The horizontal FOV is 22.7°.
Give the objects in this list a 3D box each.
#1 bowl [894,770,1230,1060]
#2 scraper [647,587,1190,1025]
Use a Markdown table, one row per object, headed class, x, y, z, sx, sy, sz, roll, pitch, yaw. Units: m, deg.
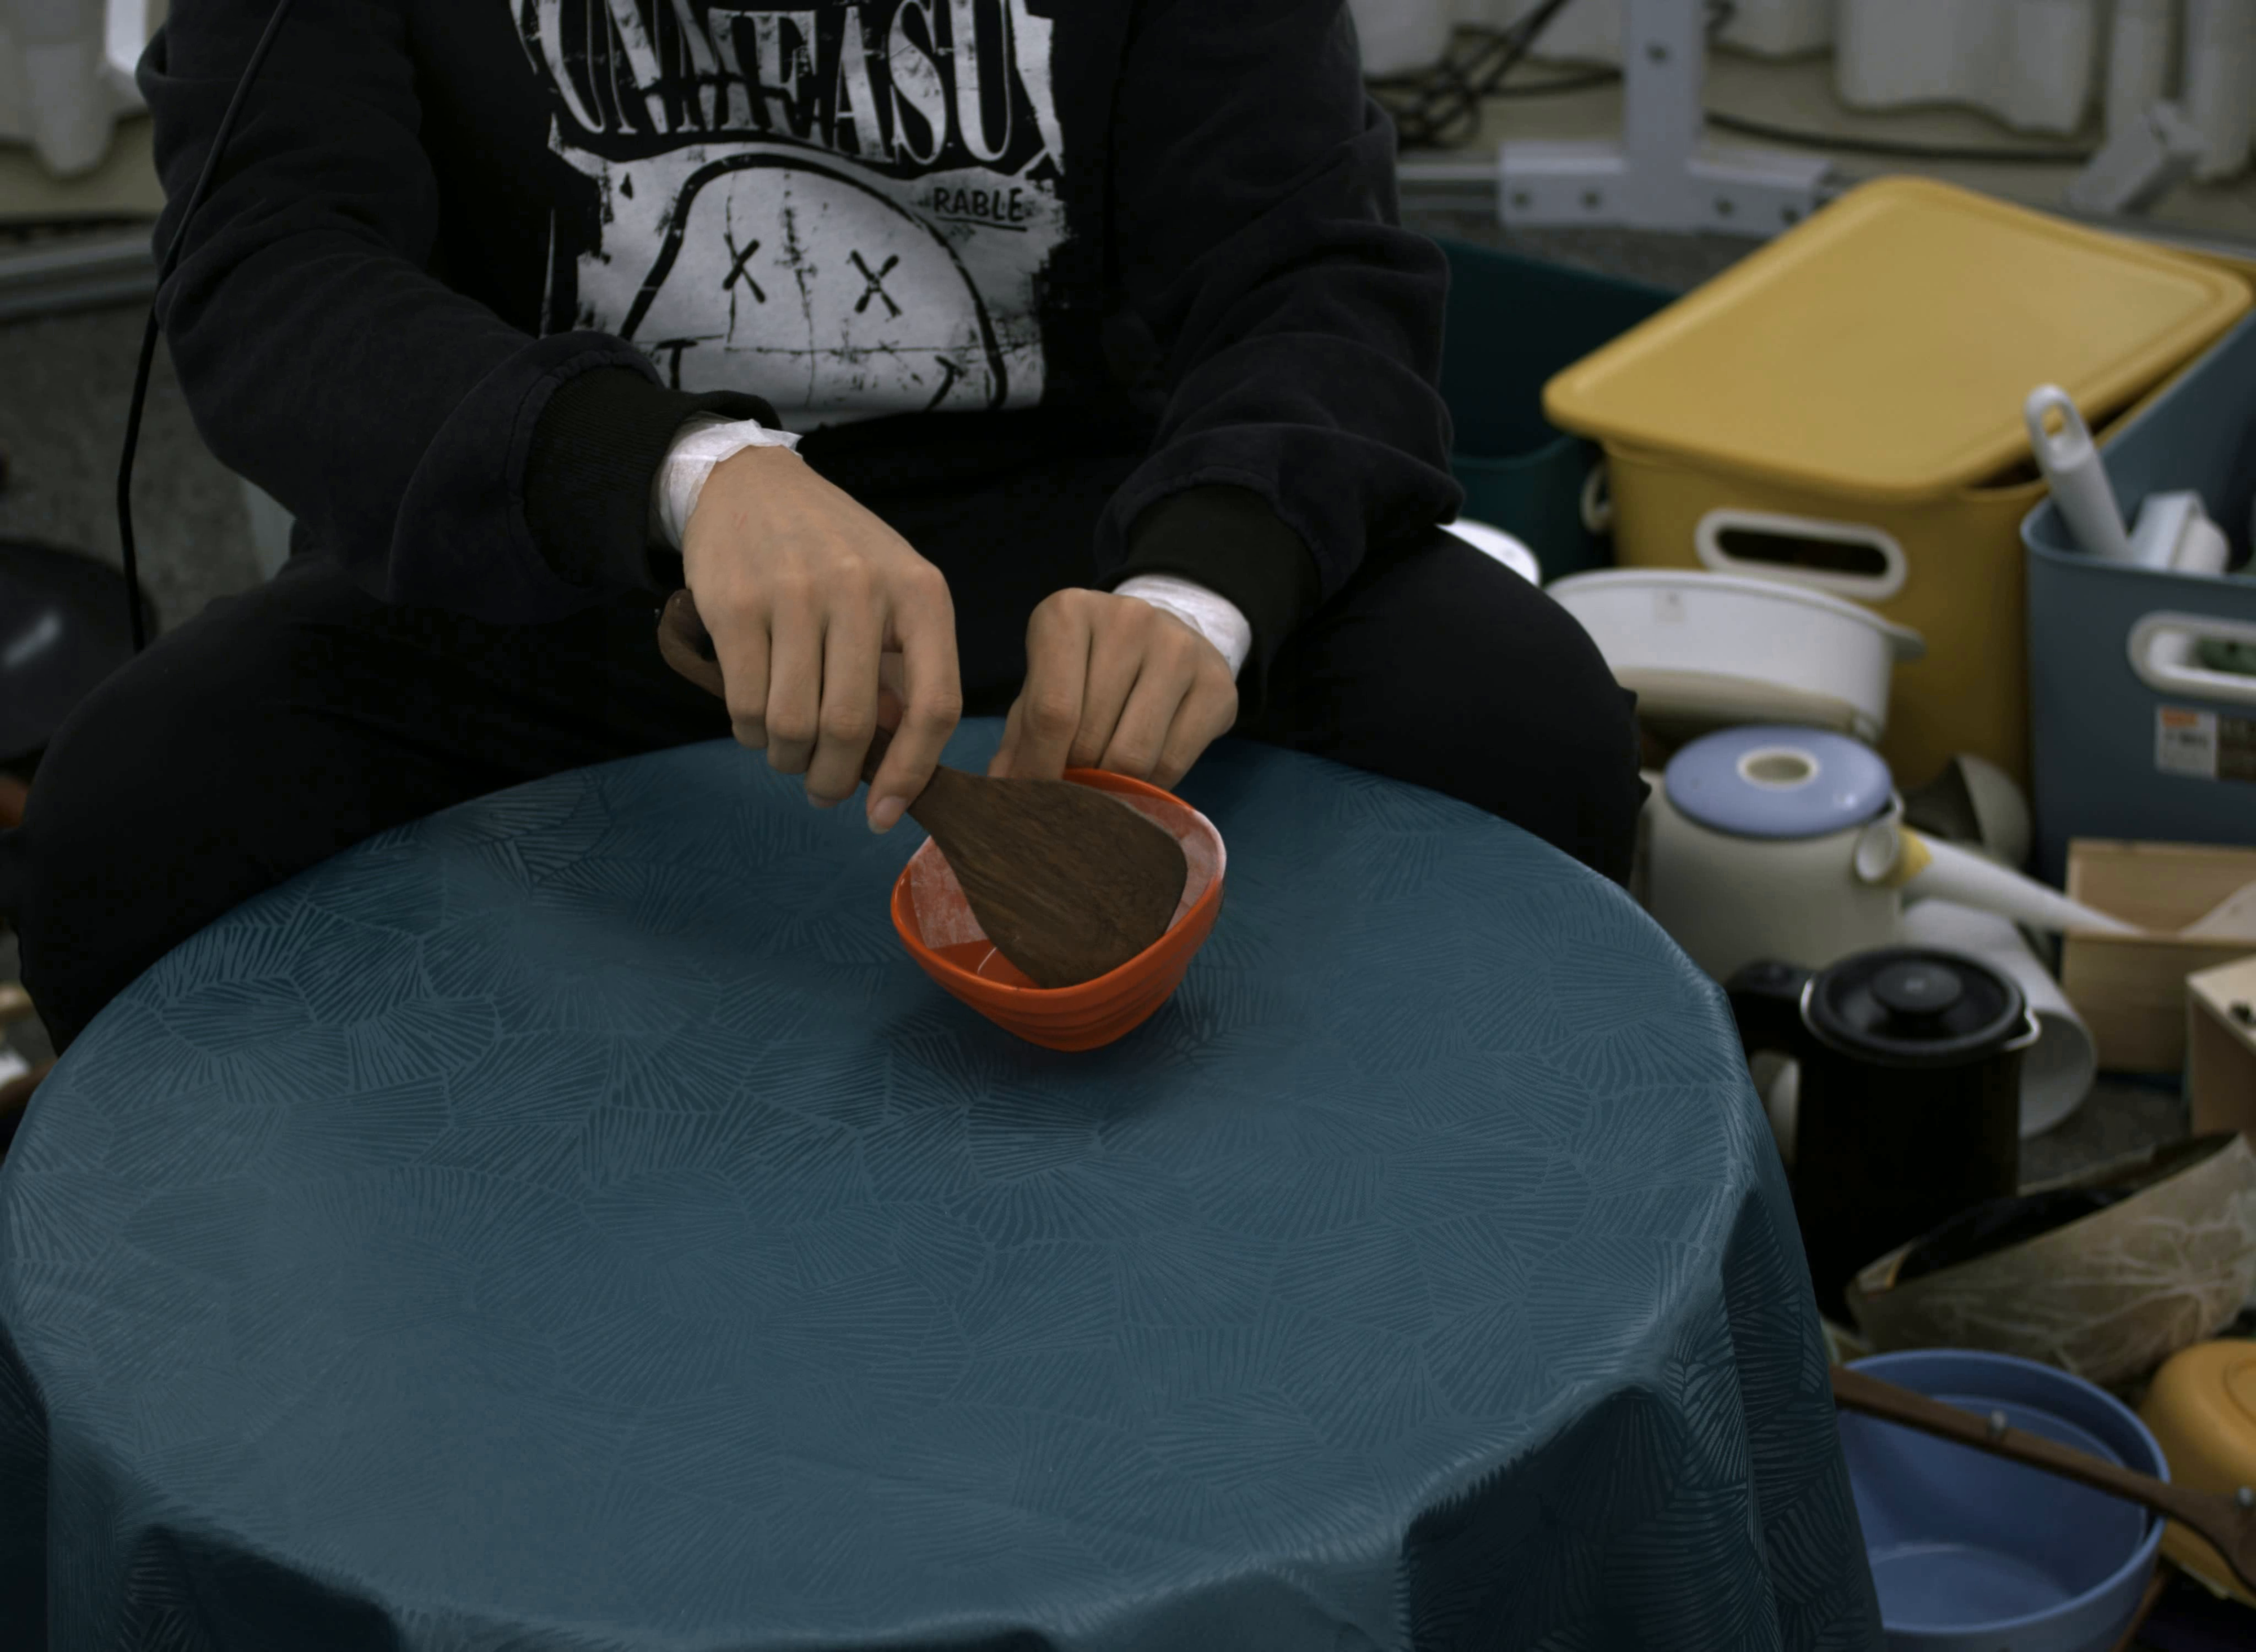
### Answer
| class | x | y | z | sx | sy | sz | roll | pitch | yaw |
| --- | --- | --- | --- | --- | --- | --- | --- | --- | --- |
| bowl | -0.019 | 0.037 | 1.958 | 0.118 | 0.050 | 0.121 | -7 | 40 | 7 |
| scraper | -0.076 | -0.016 | 1.933 | 0.211 | 0.075 | 0.011 | 34 | 14 | 9 |
